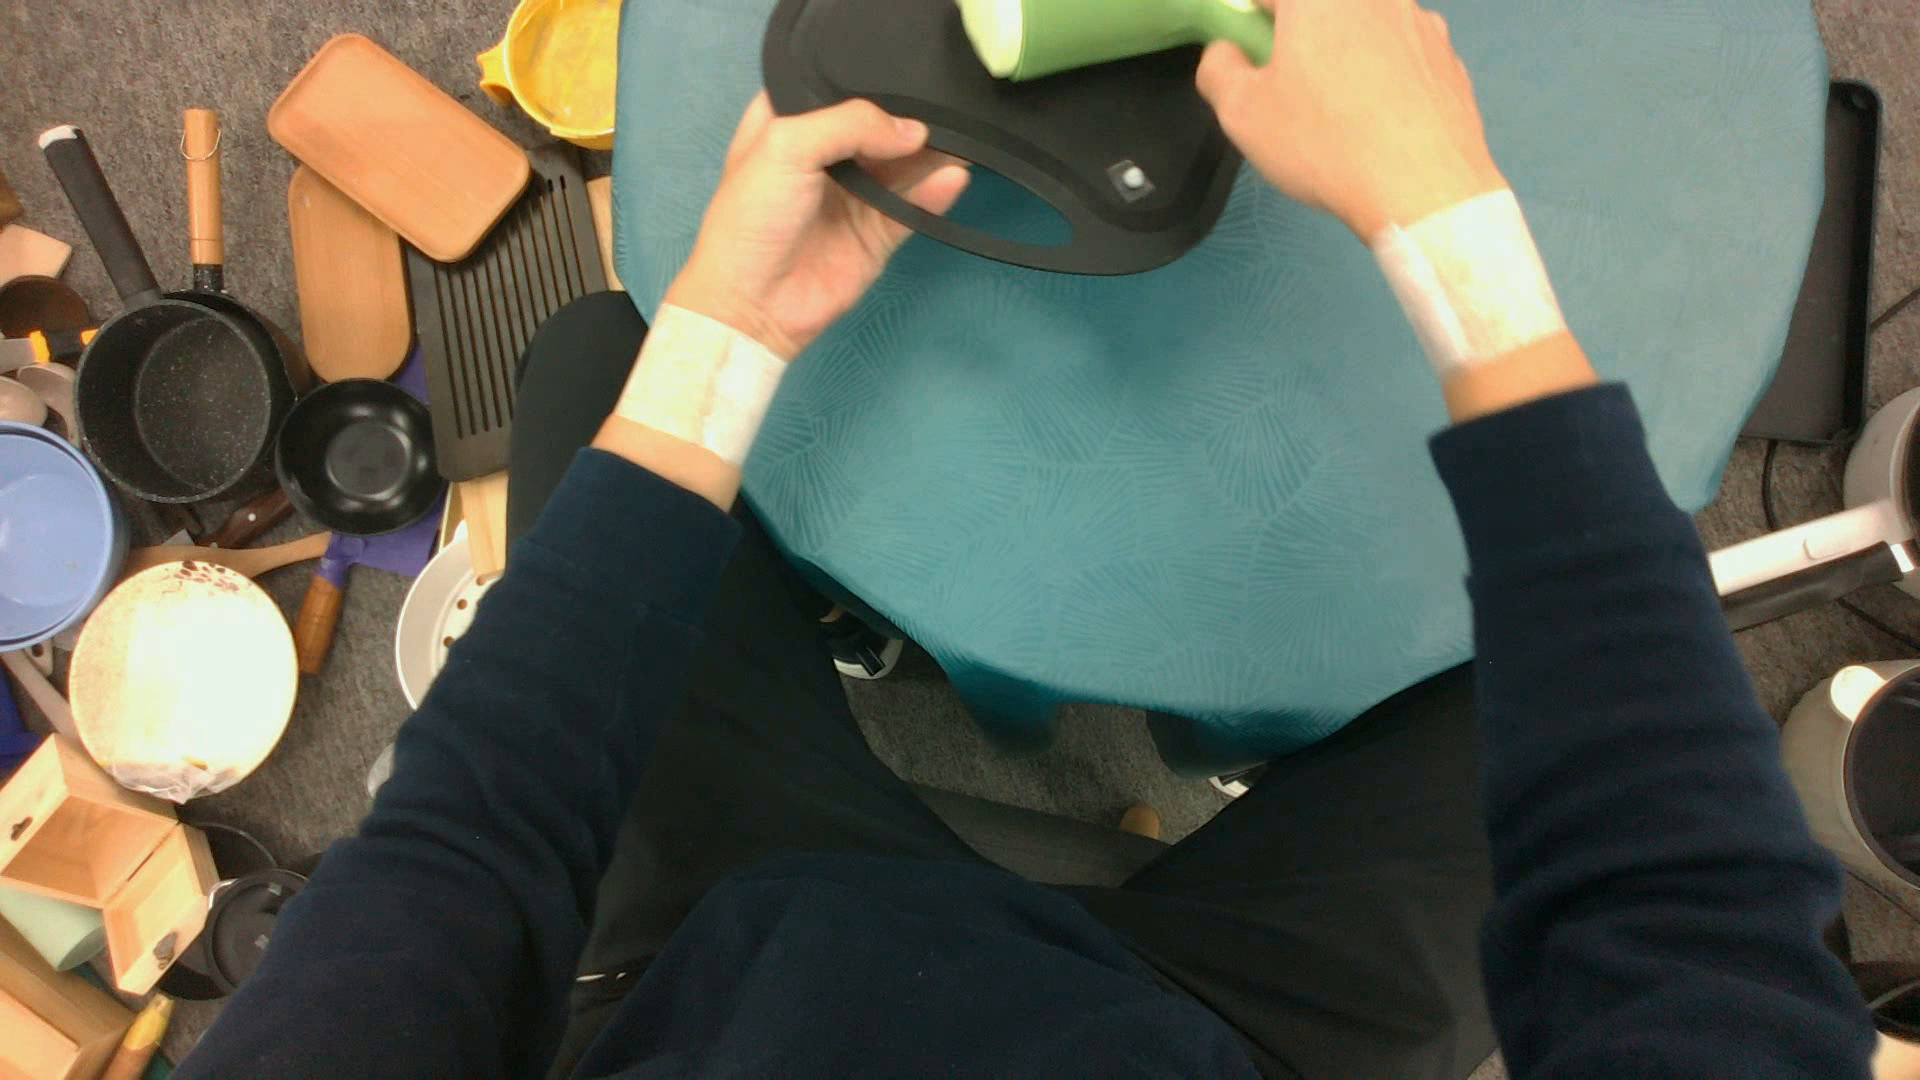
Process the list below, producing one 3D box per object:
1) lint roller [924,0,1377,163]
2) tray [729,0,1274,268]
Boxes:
[{"bbox_3d":[0.107,-0.220,0.554,0.199,0.082,0.183,-21,43,-18],"label":"lint roller"},{"bbox_3d":[0.037,-0.263,0.623,0.211,0.010,0.327,23,65,0],"label":"tray"}]
